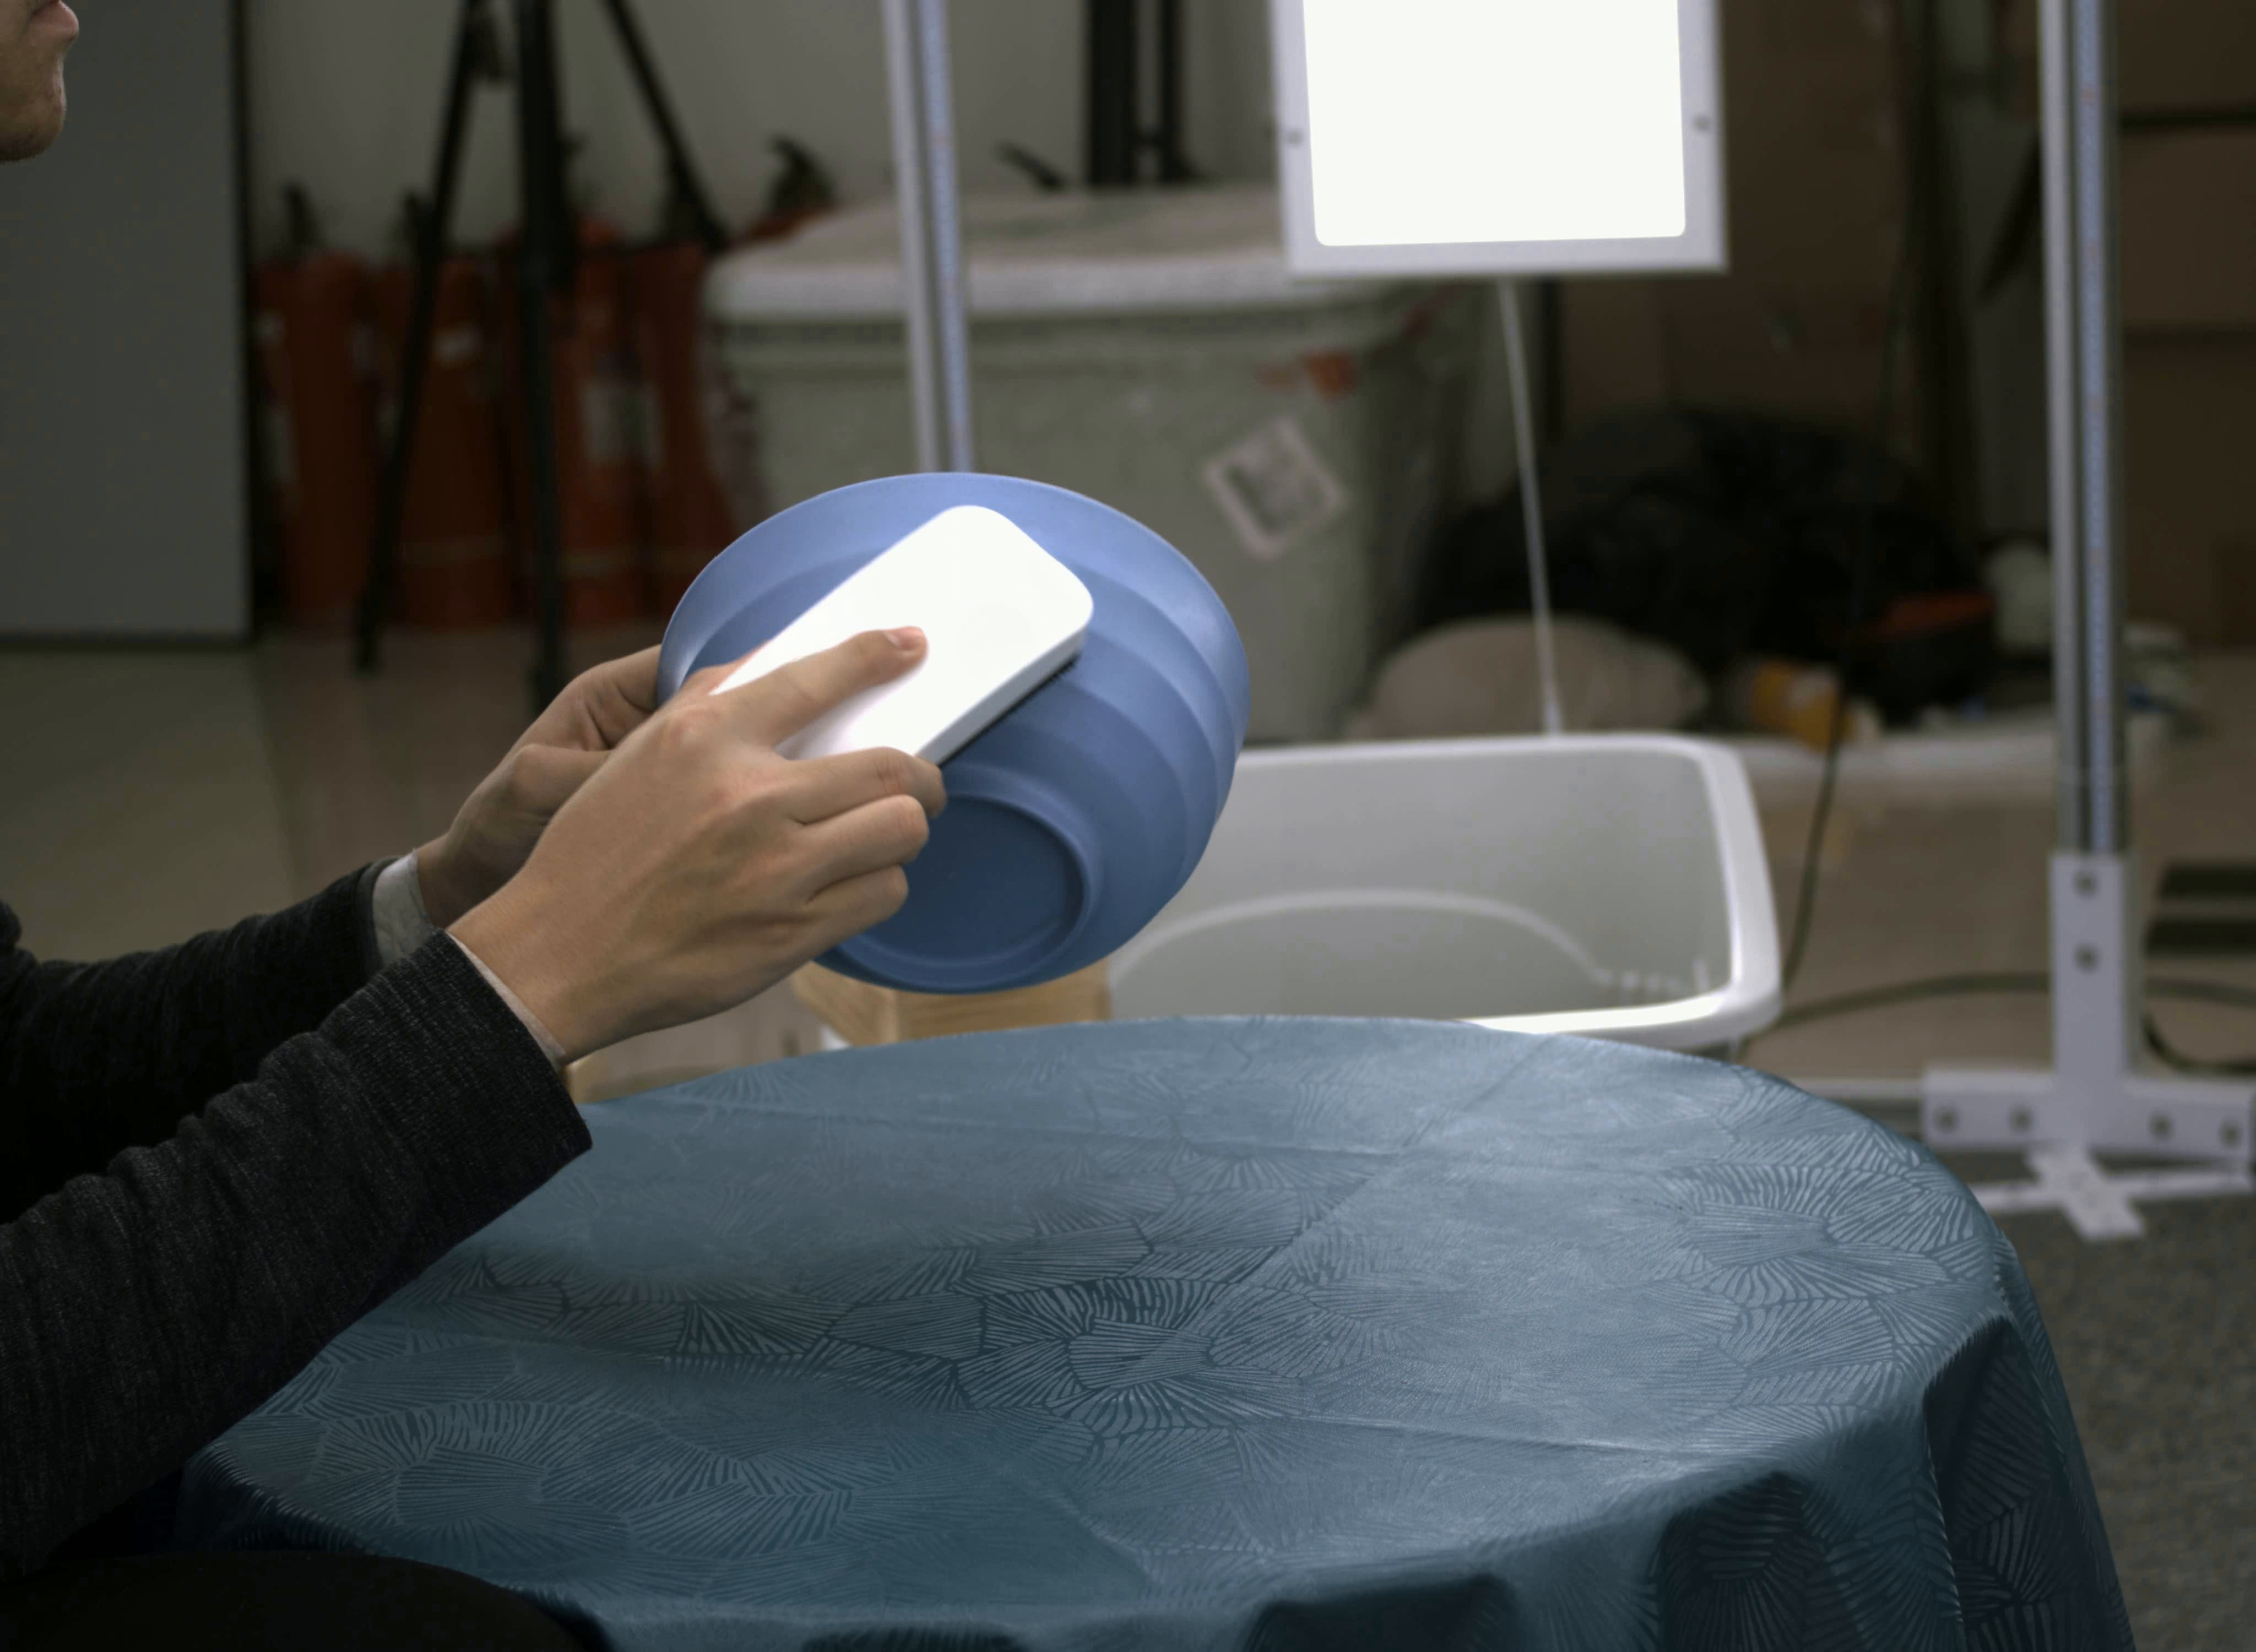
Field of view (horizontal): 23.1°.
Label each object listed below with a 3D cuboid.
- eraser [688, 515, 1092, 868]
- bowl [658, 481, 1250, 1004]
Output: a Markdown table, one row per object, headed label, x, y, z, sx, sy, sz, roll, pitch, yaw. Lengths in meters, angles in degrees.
| label | x | y | z | sx | sy | sz | roll | pitch | yaw |
| --- | --- | --- | --- | --- | --- | --- | --- | --- | --- |
| eraser | -0.073 | -0.044 | 1.694 | 0.129 | 0.035 | 0.064 | -38 | 64 | -22 |
| bowl | -0.057 | -0.009 | 1.789 | 0.197 | 0.197 | 0.095 | -3 | 45 | 5 |
